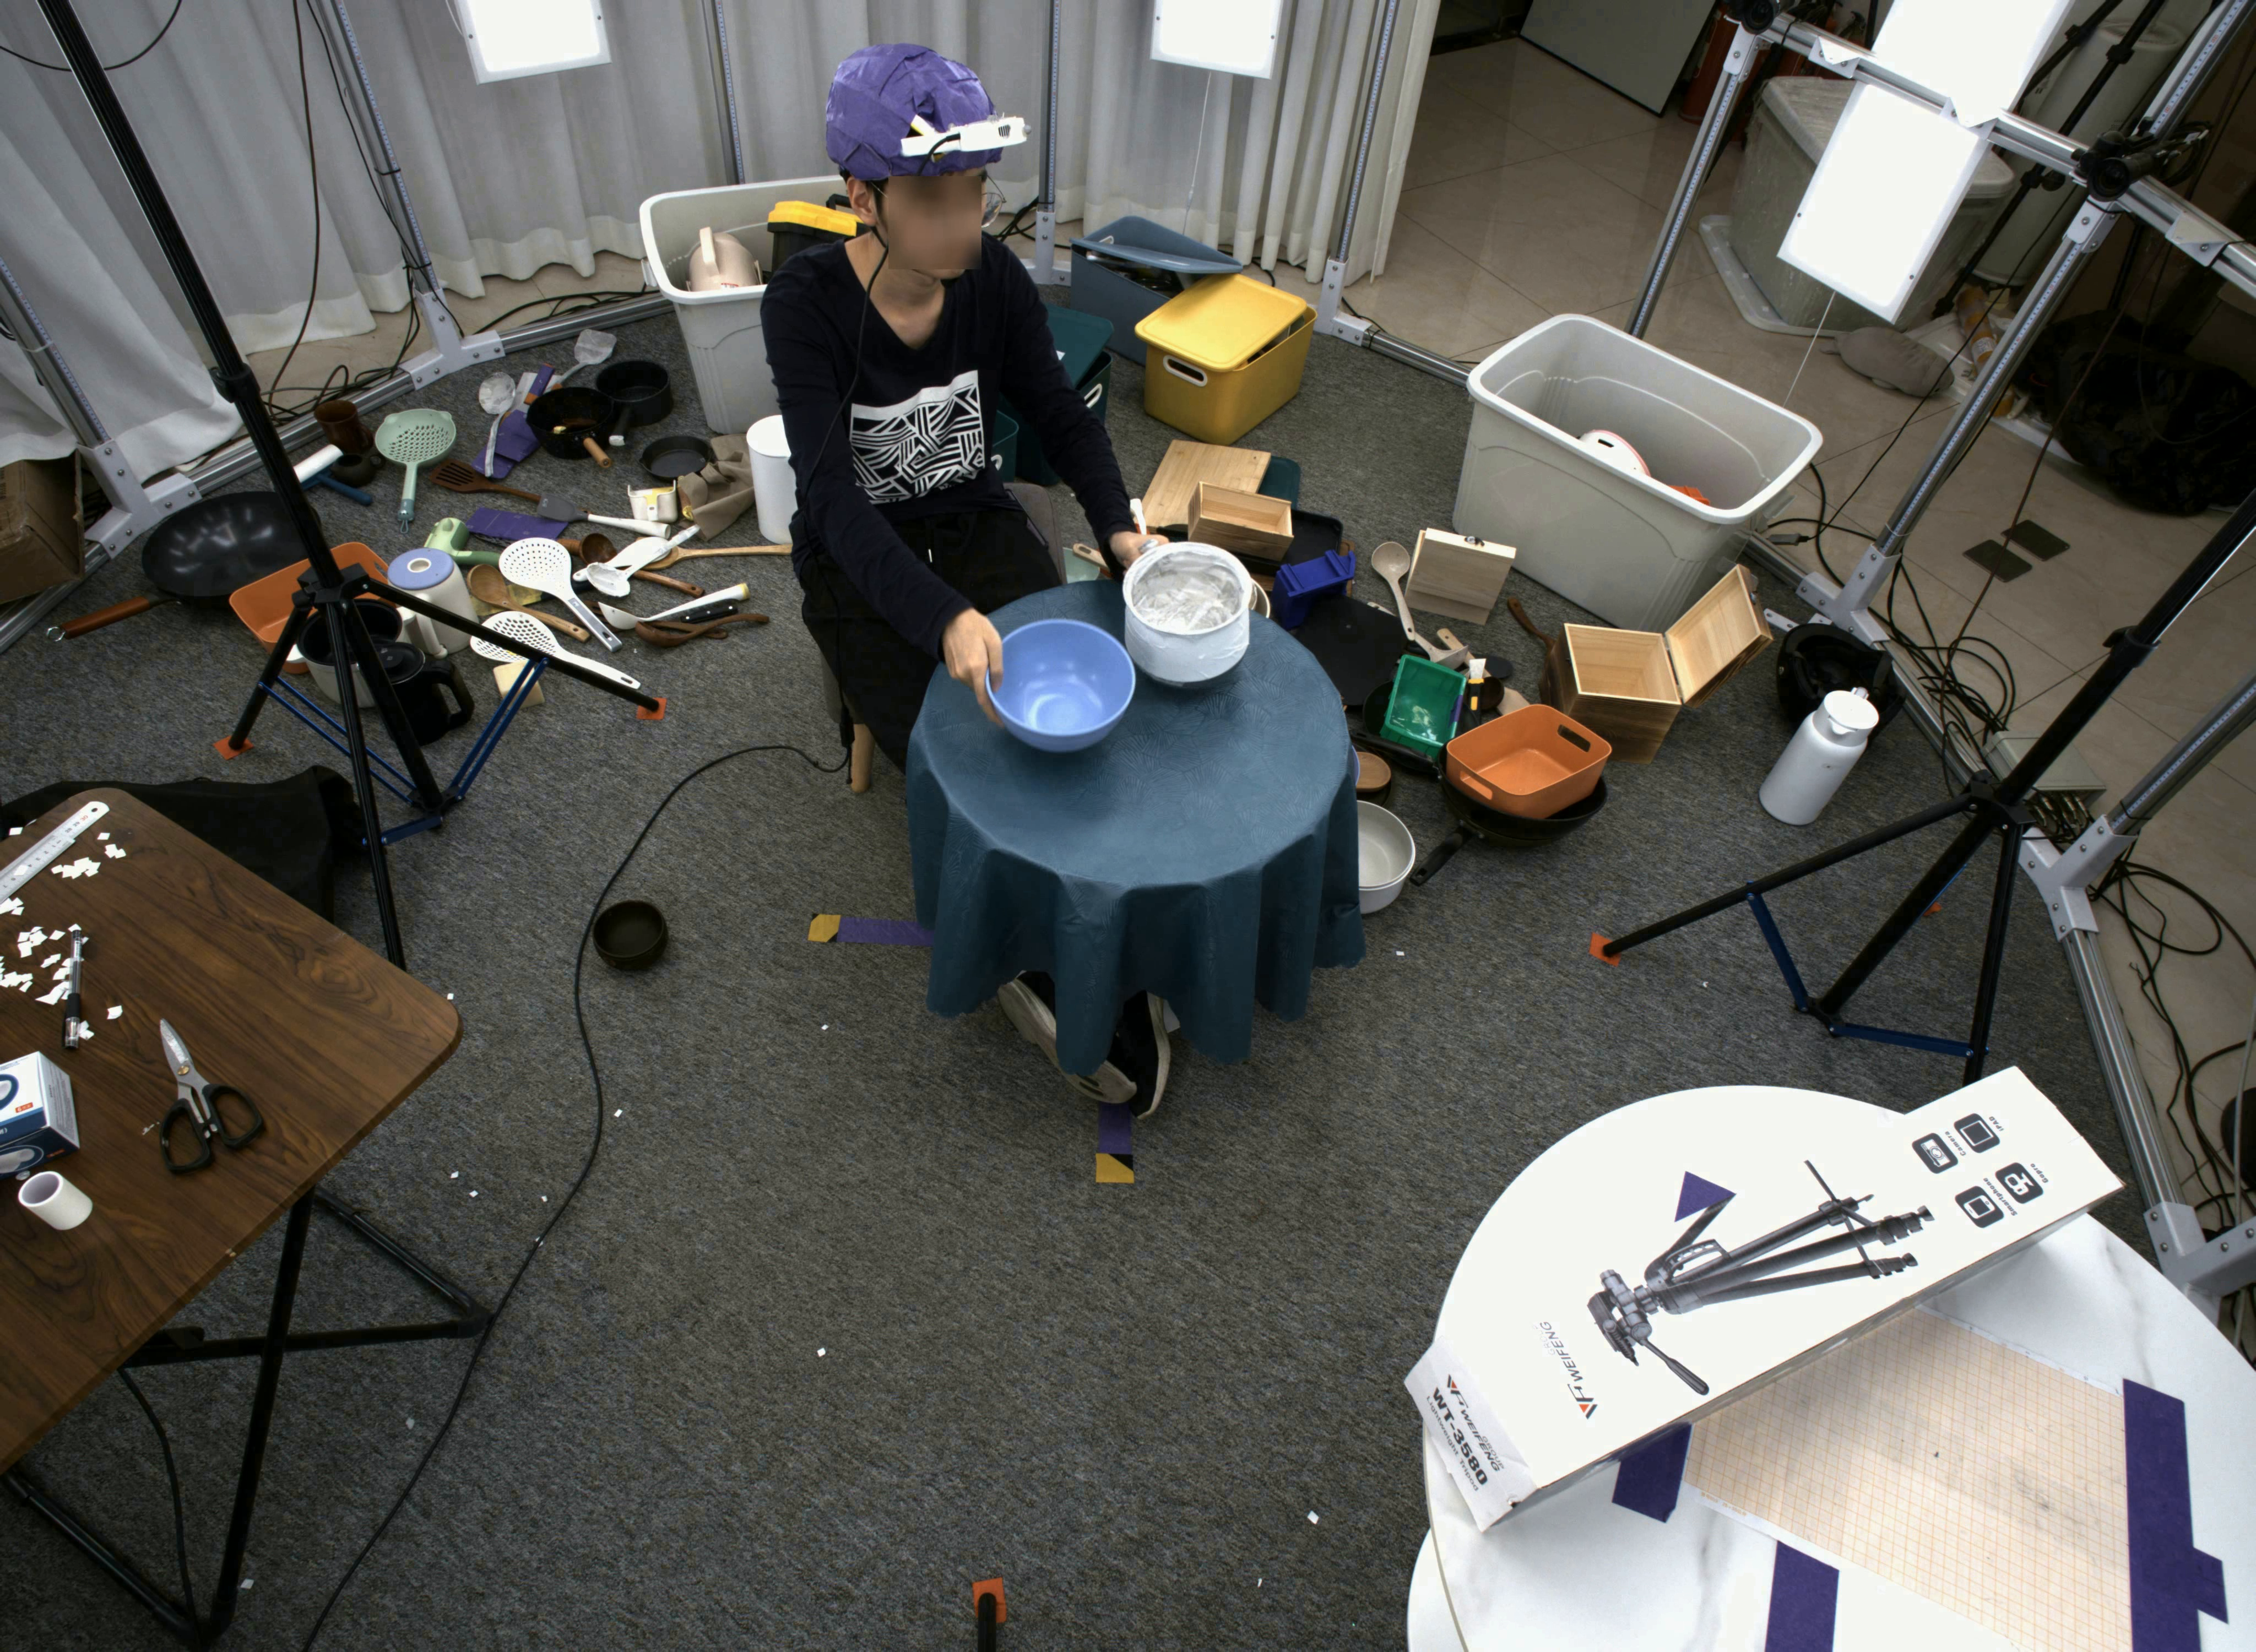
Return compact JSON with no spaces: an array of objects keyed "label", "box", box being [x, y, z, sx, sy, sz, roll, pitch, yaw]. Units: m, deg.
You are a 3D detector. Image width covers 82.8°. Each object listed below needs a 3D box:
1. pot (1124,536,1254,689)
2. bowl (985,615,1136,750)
[{"label":"pot","box":[0.069,-0.312,1.818,0.179,0.133,0.238,-24,58,-17]},{"label":"bowl","box":[-0.090,-0.176,1.708,0.196,0.093,0.201,2,58,-3]}]
